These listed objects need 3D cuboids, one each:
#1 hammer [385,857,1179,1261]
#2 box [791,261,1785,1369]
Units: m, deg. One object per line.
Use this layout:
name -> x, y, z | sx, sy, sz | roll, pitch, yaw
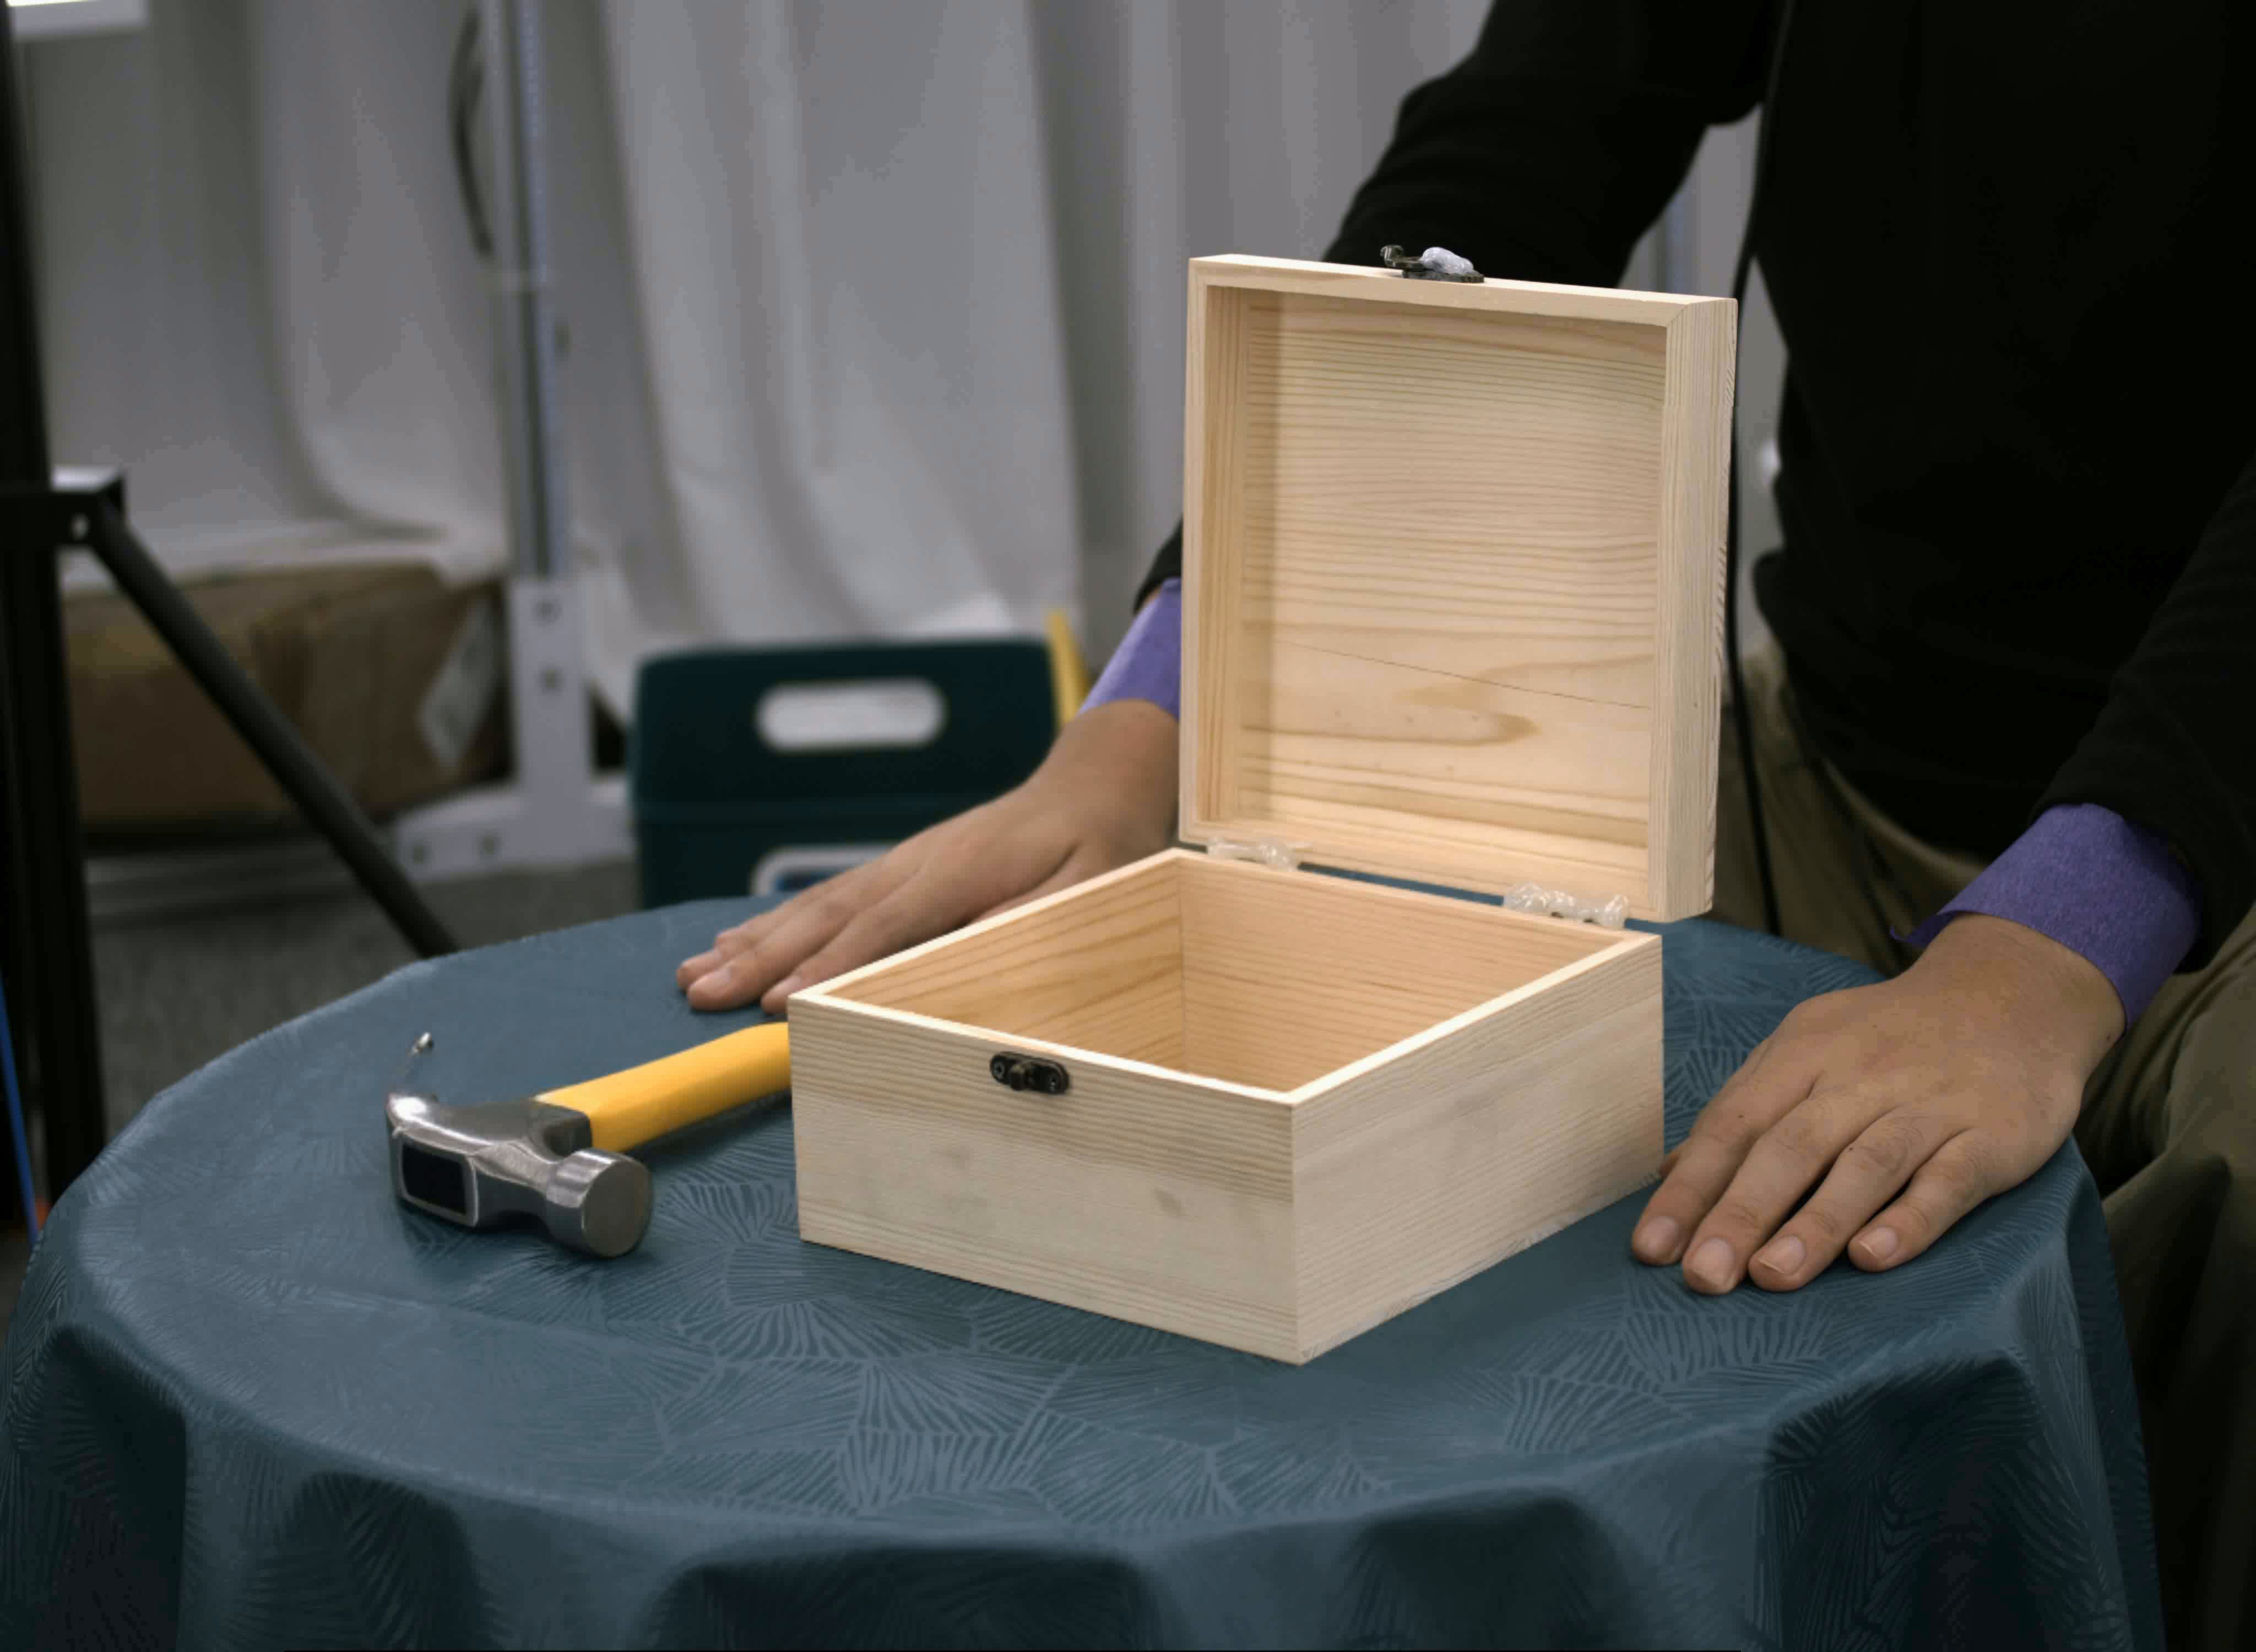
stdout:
hammer -> -0.090, 0.062, 1.667 | 0.134, 0.032, 0.331 | 13, 23, 42
box -> 0.047, -0.016, 1.529 | 0.185, 0.253, 0.259 | 7, 18, 38
